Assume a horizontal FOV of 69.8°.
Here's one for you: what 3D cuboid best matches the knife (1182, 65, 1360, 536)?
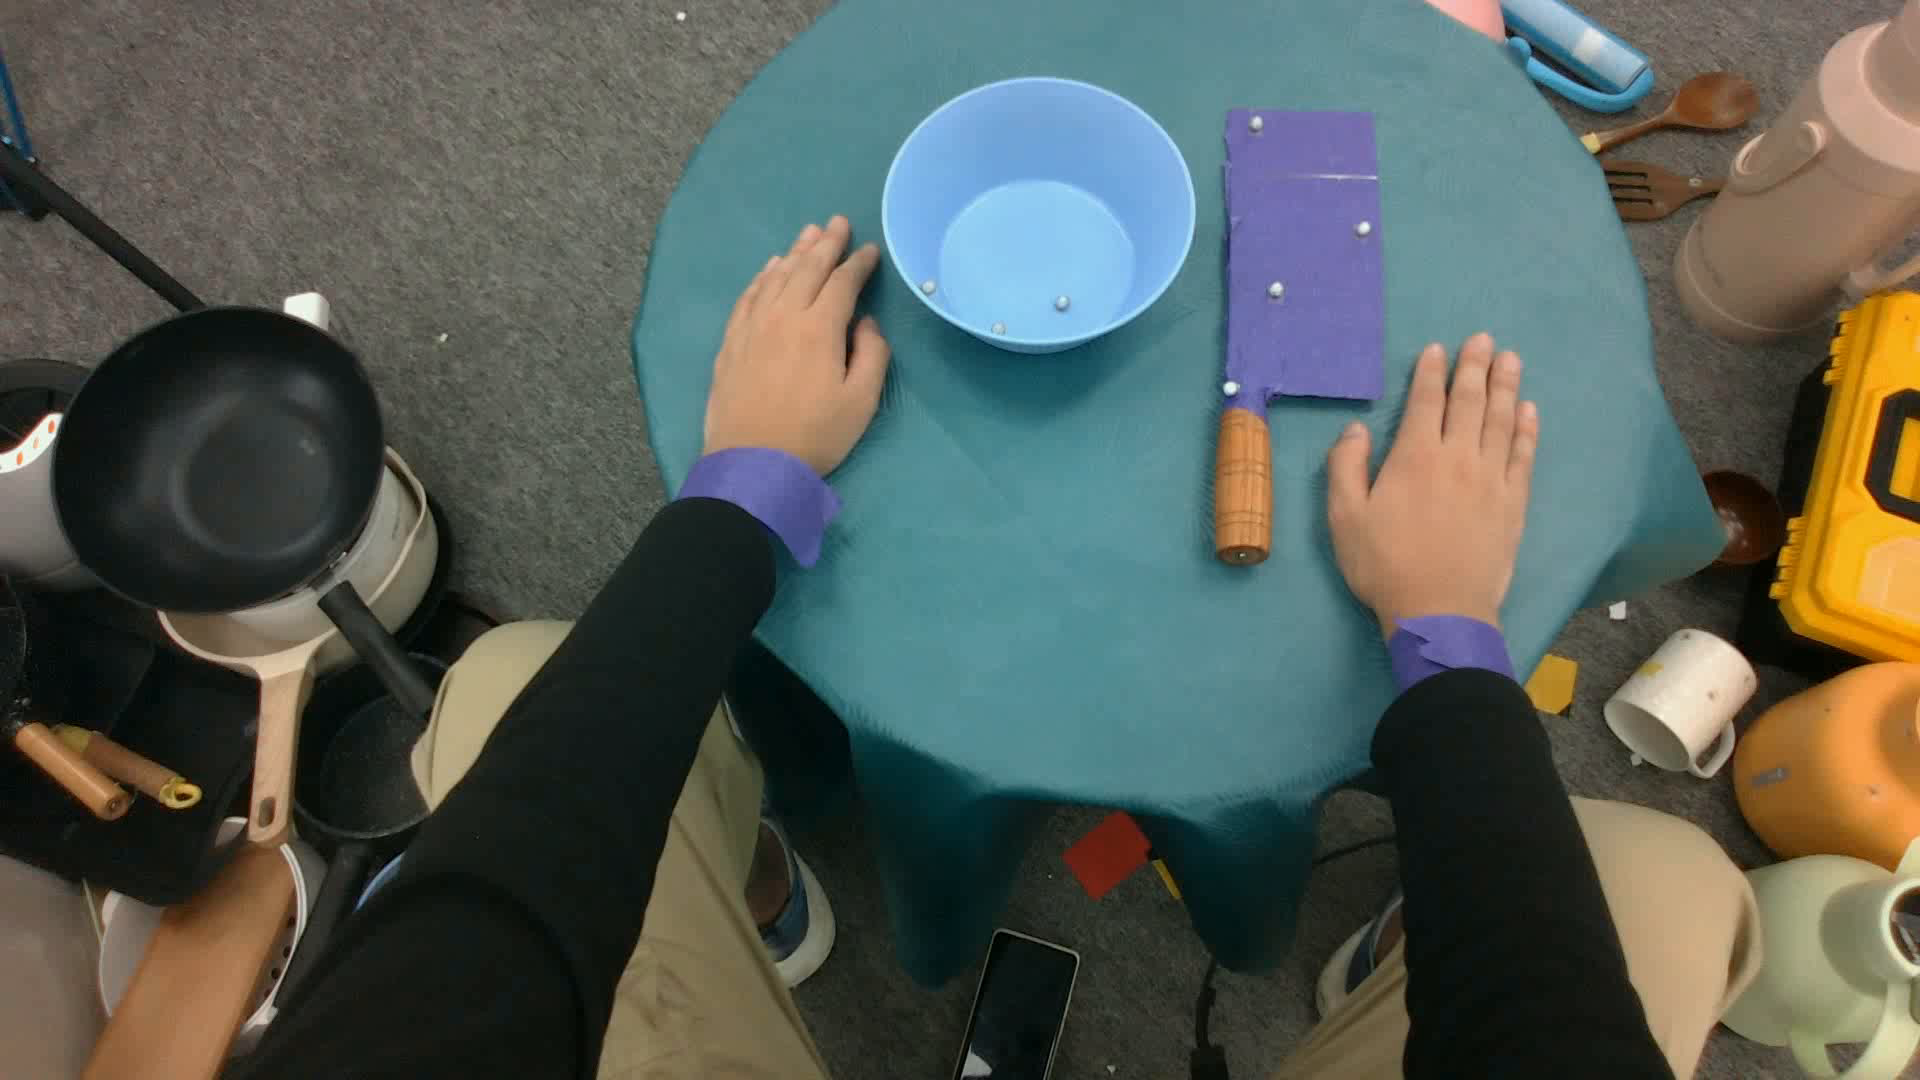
[{"bbox_3d":[0.183,-0.152,0.805,0.104,0.032,0.316,2,69,2],"label":"knife"}]

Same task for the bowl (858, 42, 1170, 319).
[{"bbox_3d":[0.031,-0.196,0.800,0.176,0.070,0.176,0,71,1],"label":"bowl"}]
